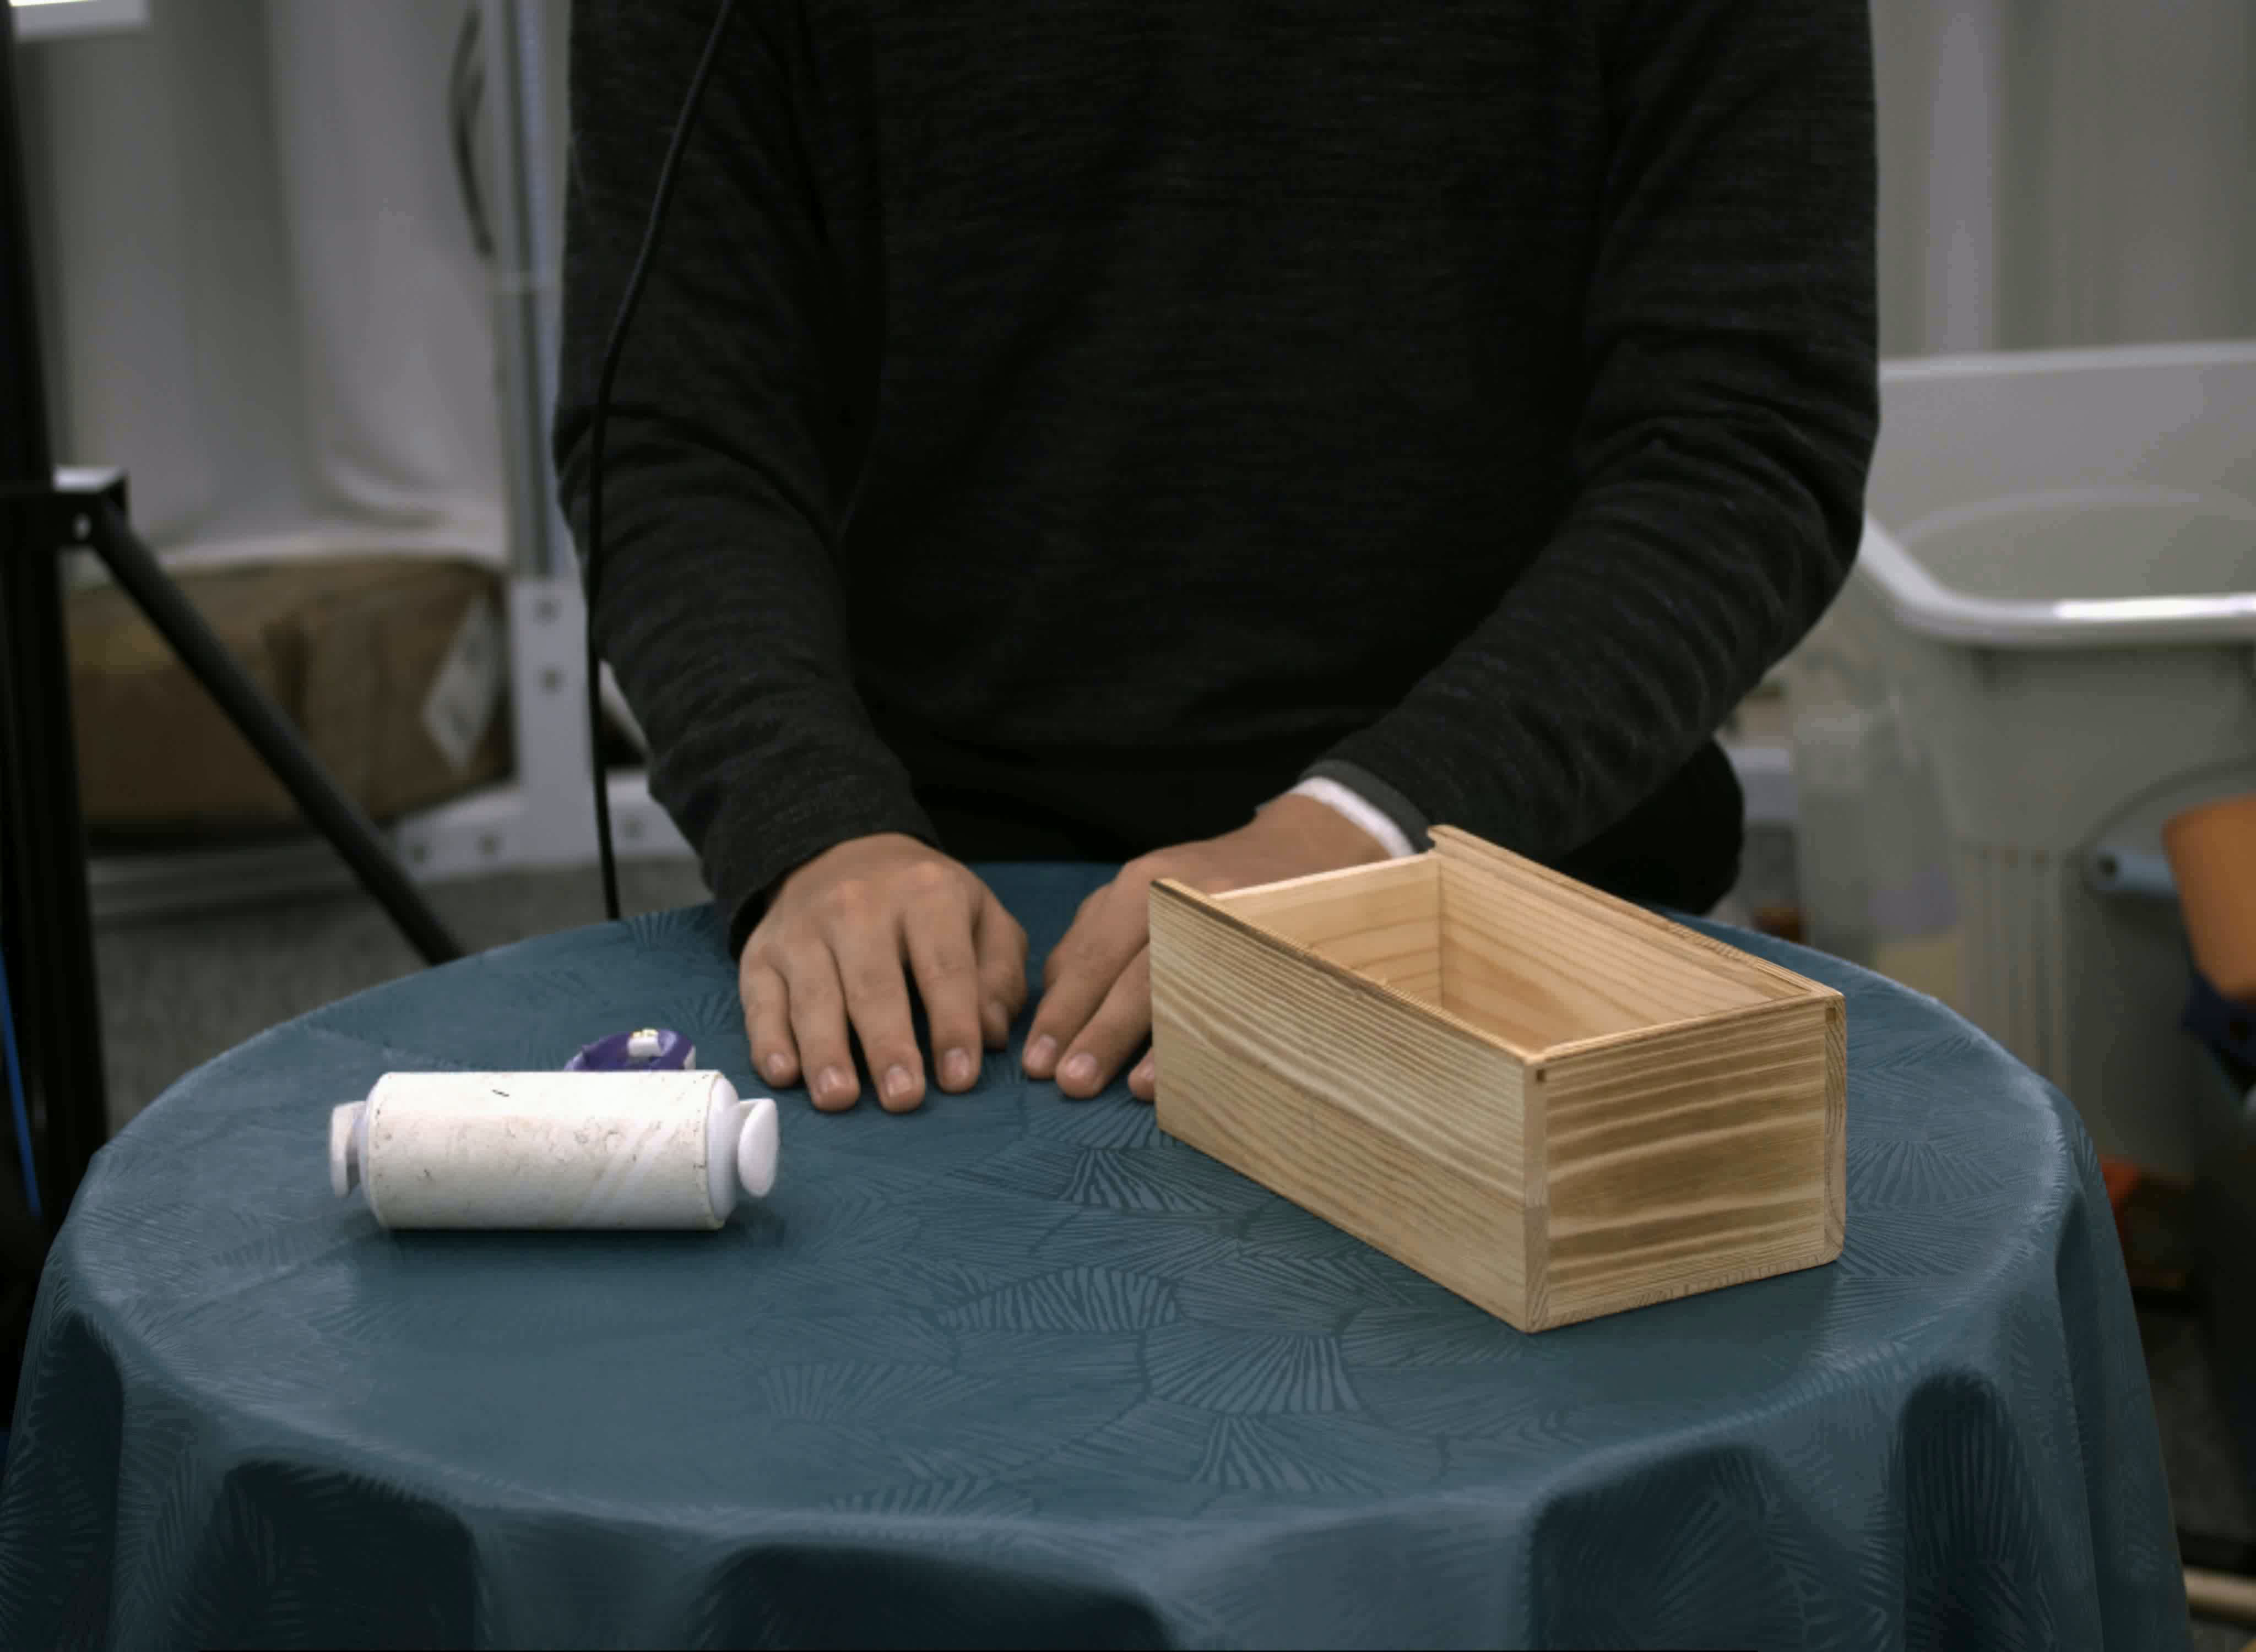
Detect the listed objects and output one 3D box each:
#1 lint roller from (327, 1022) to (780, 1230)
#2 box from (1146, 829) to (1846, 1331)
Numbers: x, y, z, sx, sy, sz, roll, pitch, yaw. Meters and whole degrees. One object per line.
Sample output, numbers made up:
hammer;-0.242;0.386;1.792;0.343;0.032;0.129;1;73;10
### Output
lint roller;-0.159;0.076;1.611;0.133;0.050;0.180;-1;18;9
box;0.103;0.070;1.530;0.105;0.080;0.216;-10;17;-26
